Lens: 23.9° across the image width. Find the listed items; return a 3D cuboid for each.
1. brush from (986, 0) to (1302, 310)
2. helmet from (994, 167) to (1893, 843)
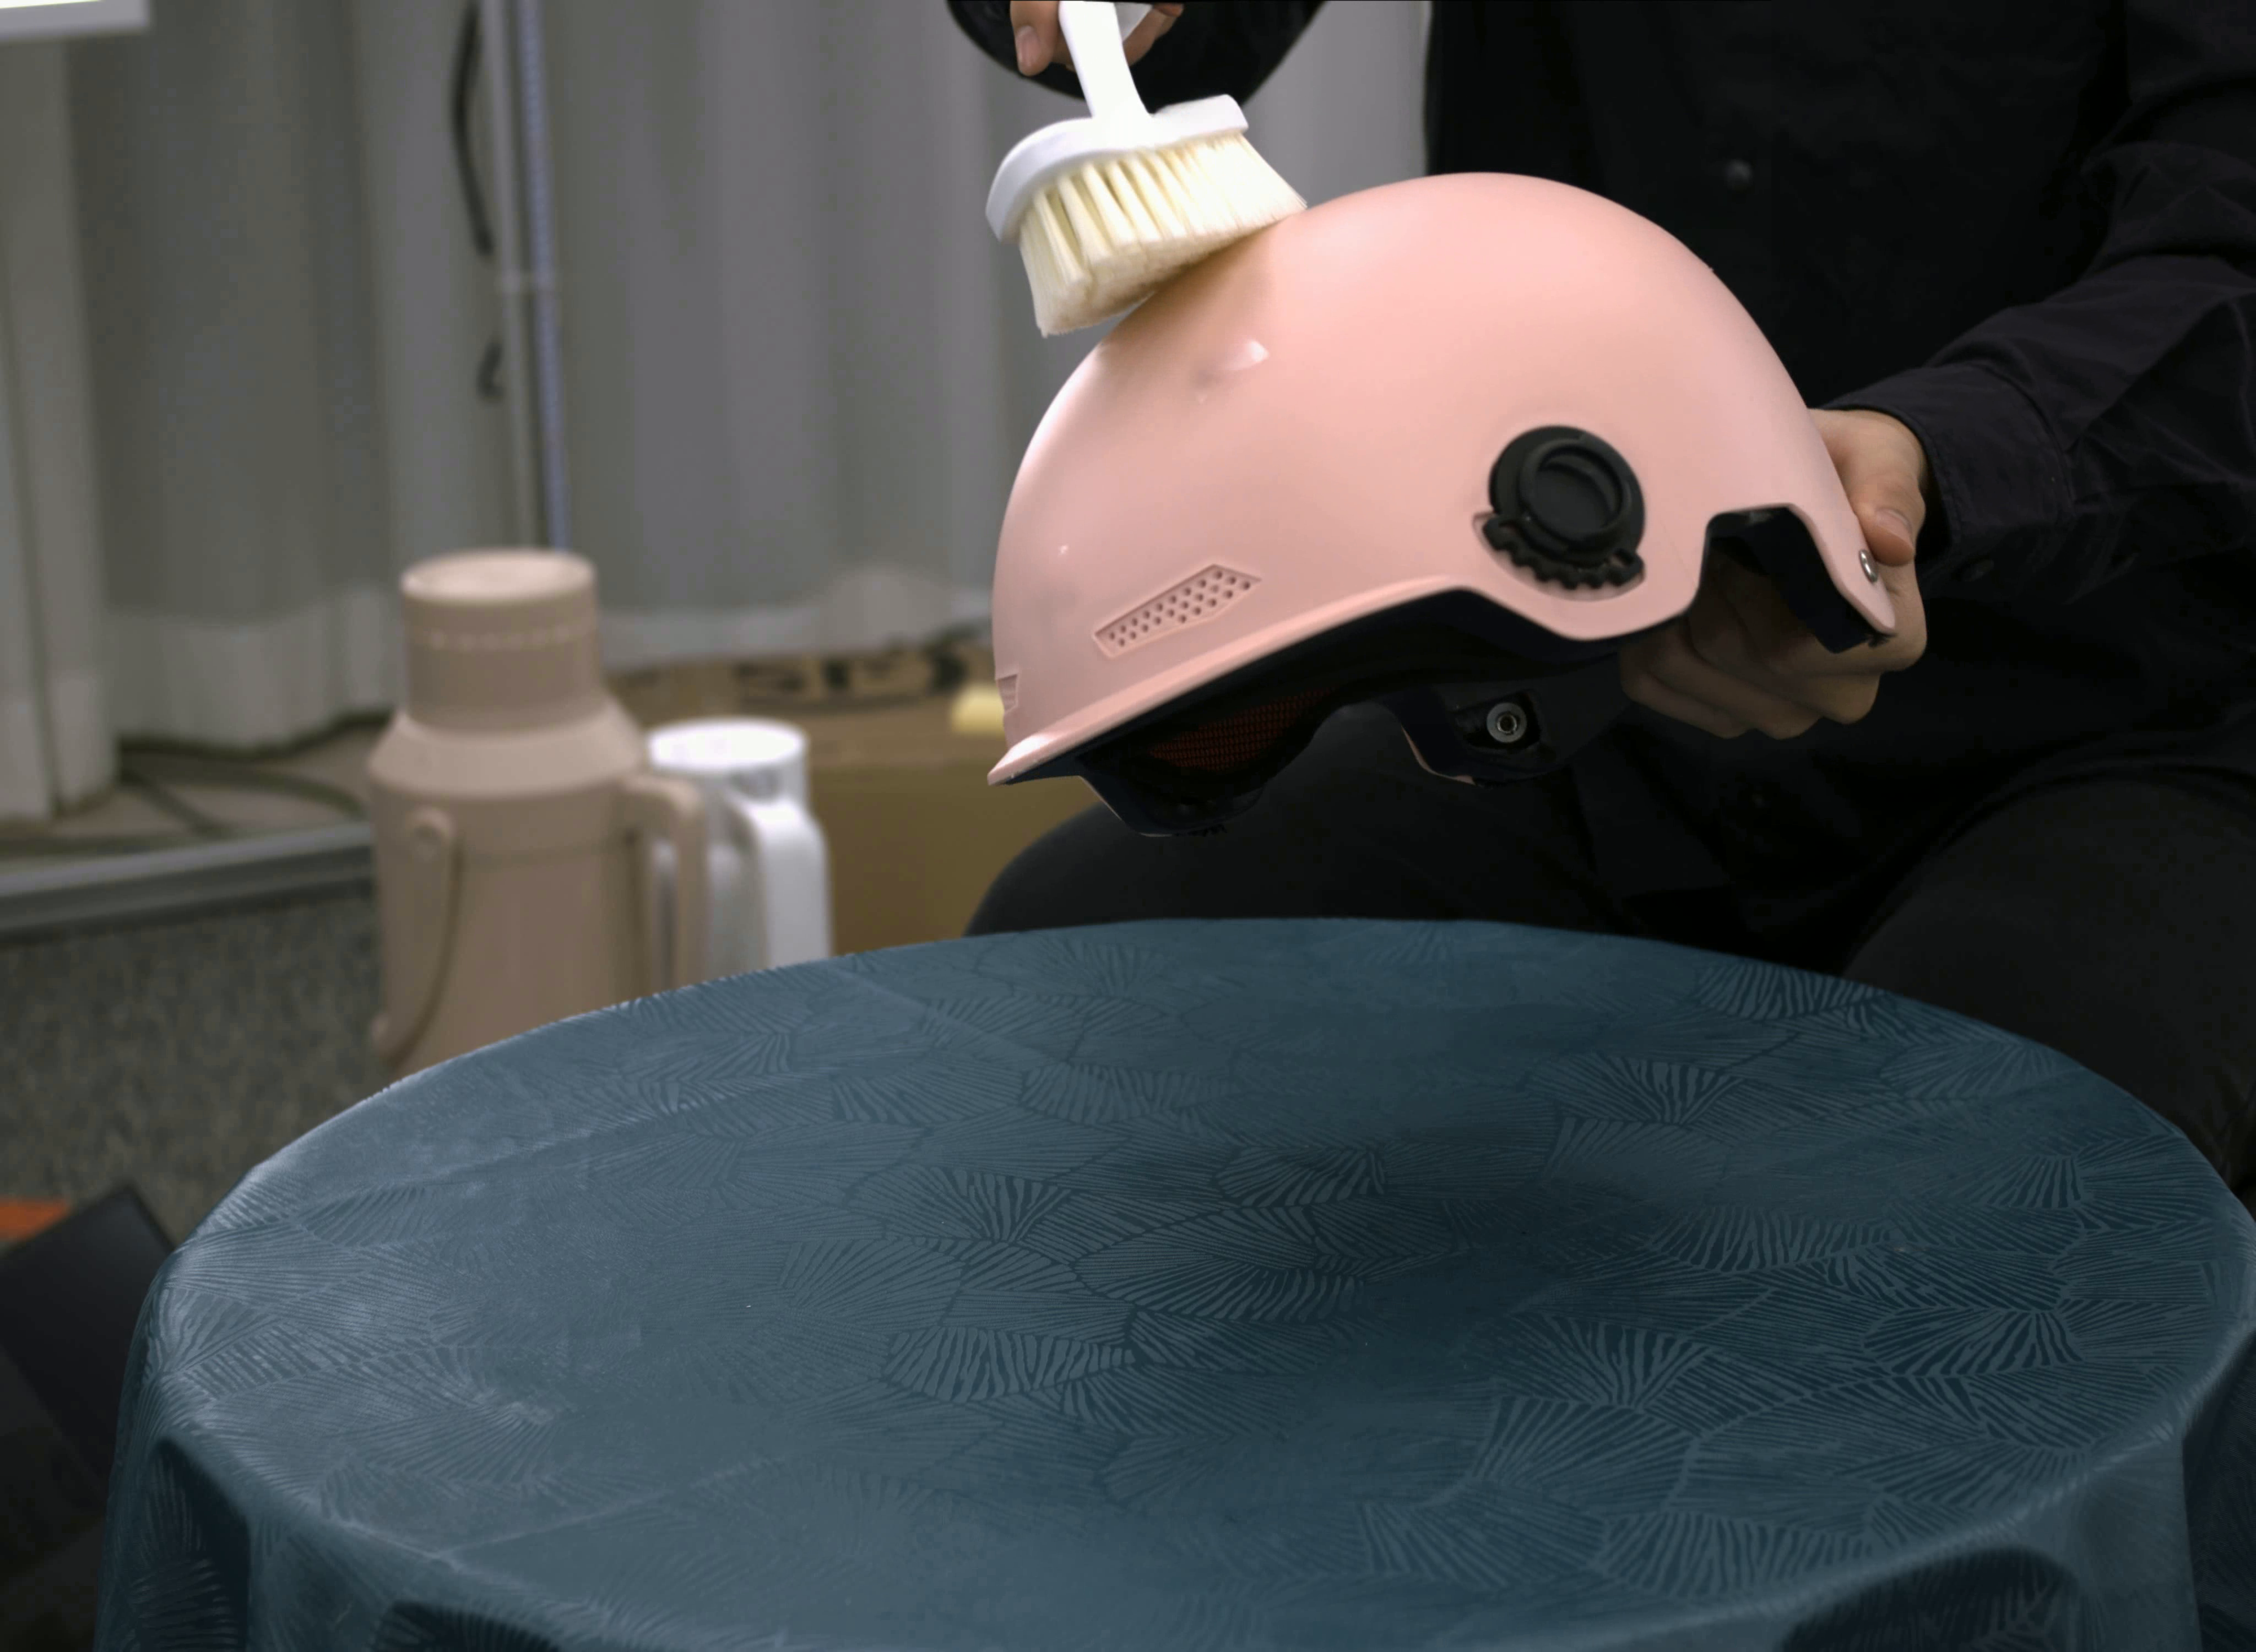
[{"bbox_3d":[0.014,-0.204,1.548,0.083,0.084,0.325,8,19,3],"label":"brush"},{"bbox_3d":[0.071,-0.097,1.485,0.260,0.160,0.238,-11,-8,-34],"label":"helmet"}]
